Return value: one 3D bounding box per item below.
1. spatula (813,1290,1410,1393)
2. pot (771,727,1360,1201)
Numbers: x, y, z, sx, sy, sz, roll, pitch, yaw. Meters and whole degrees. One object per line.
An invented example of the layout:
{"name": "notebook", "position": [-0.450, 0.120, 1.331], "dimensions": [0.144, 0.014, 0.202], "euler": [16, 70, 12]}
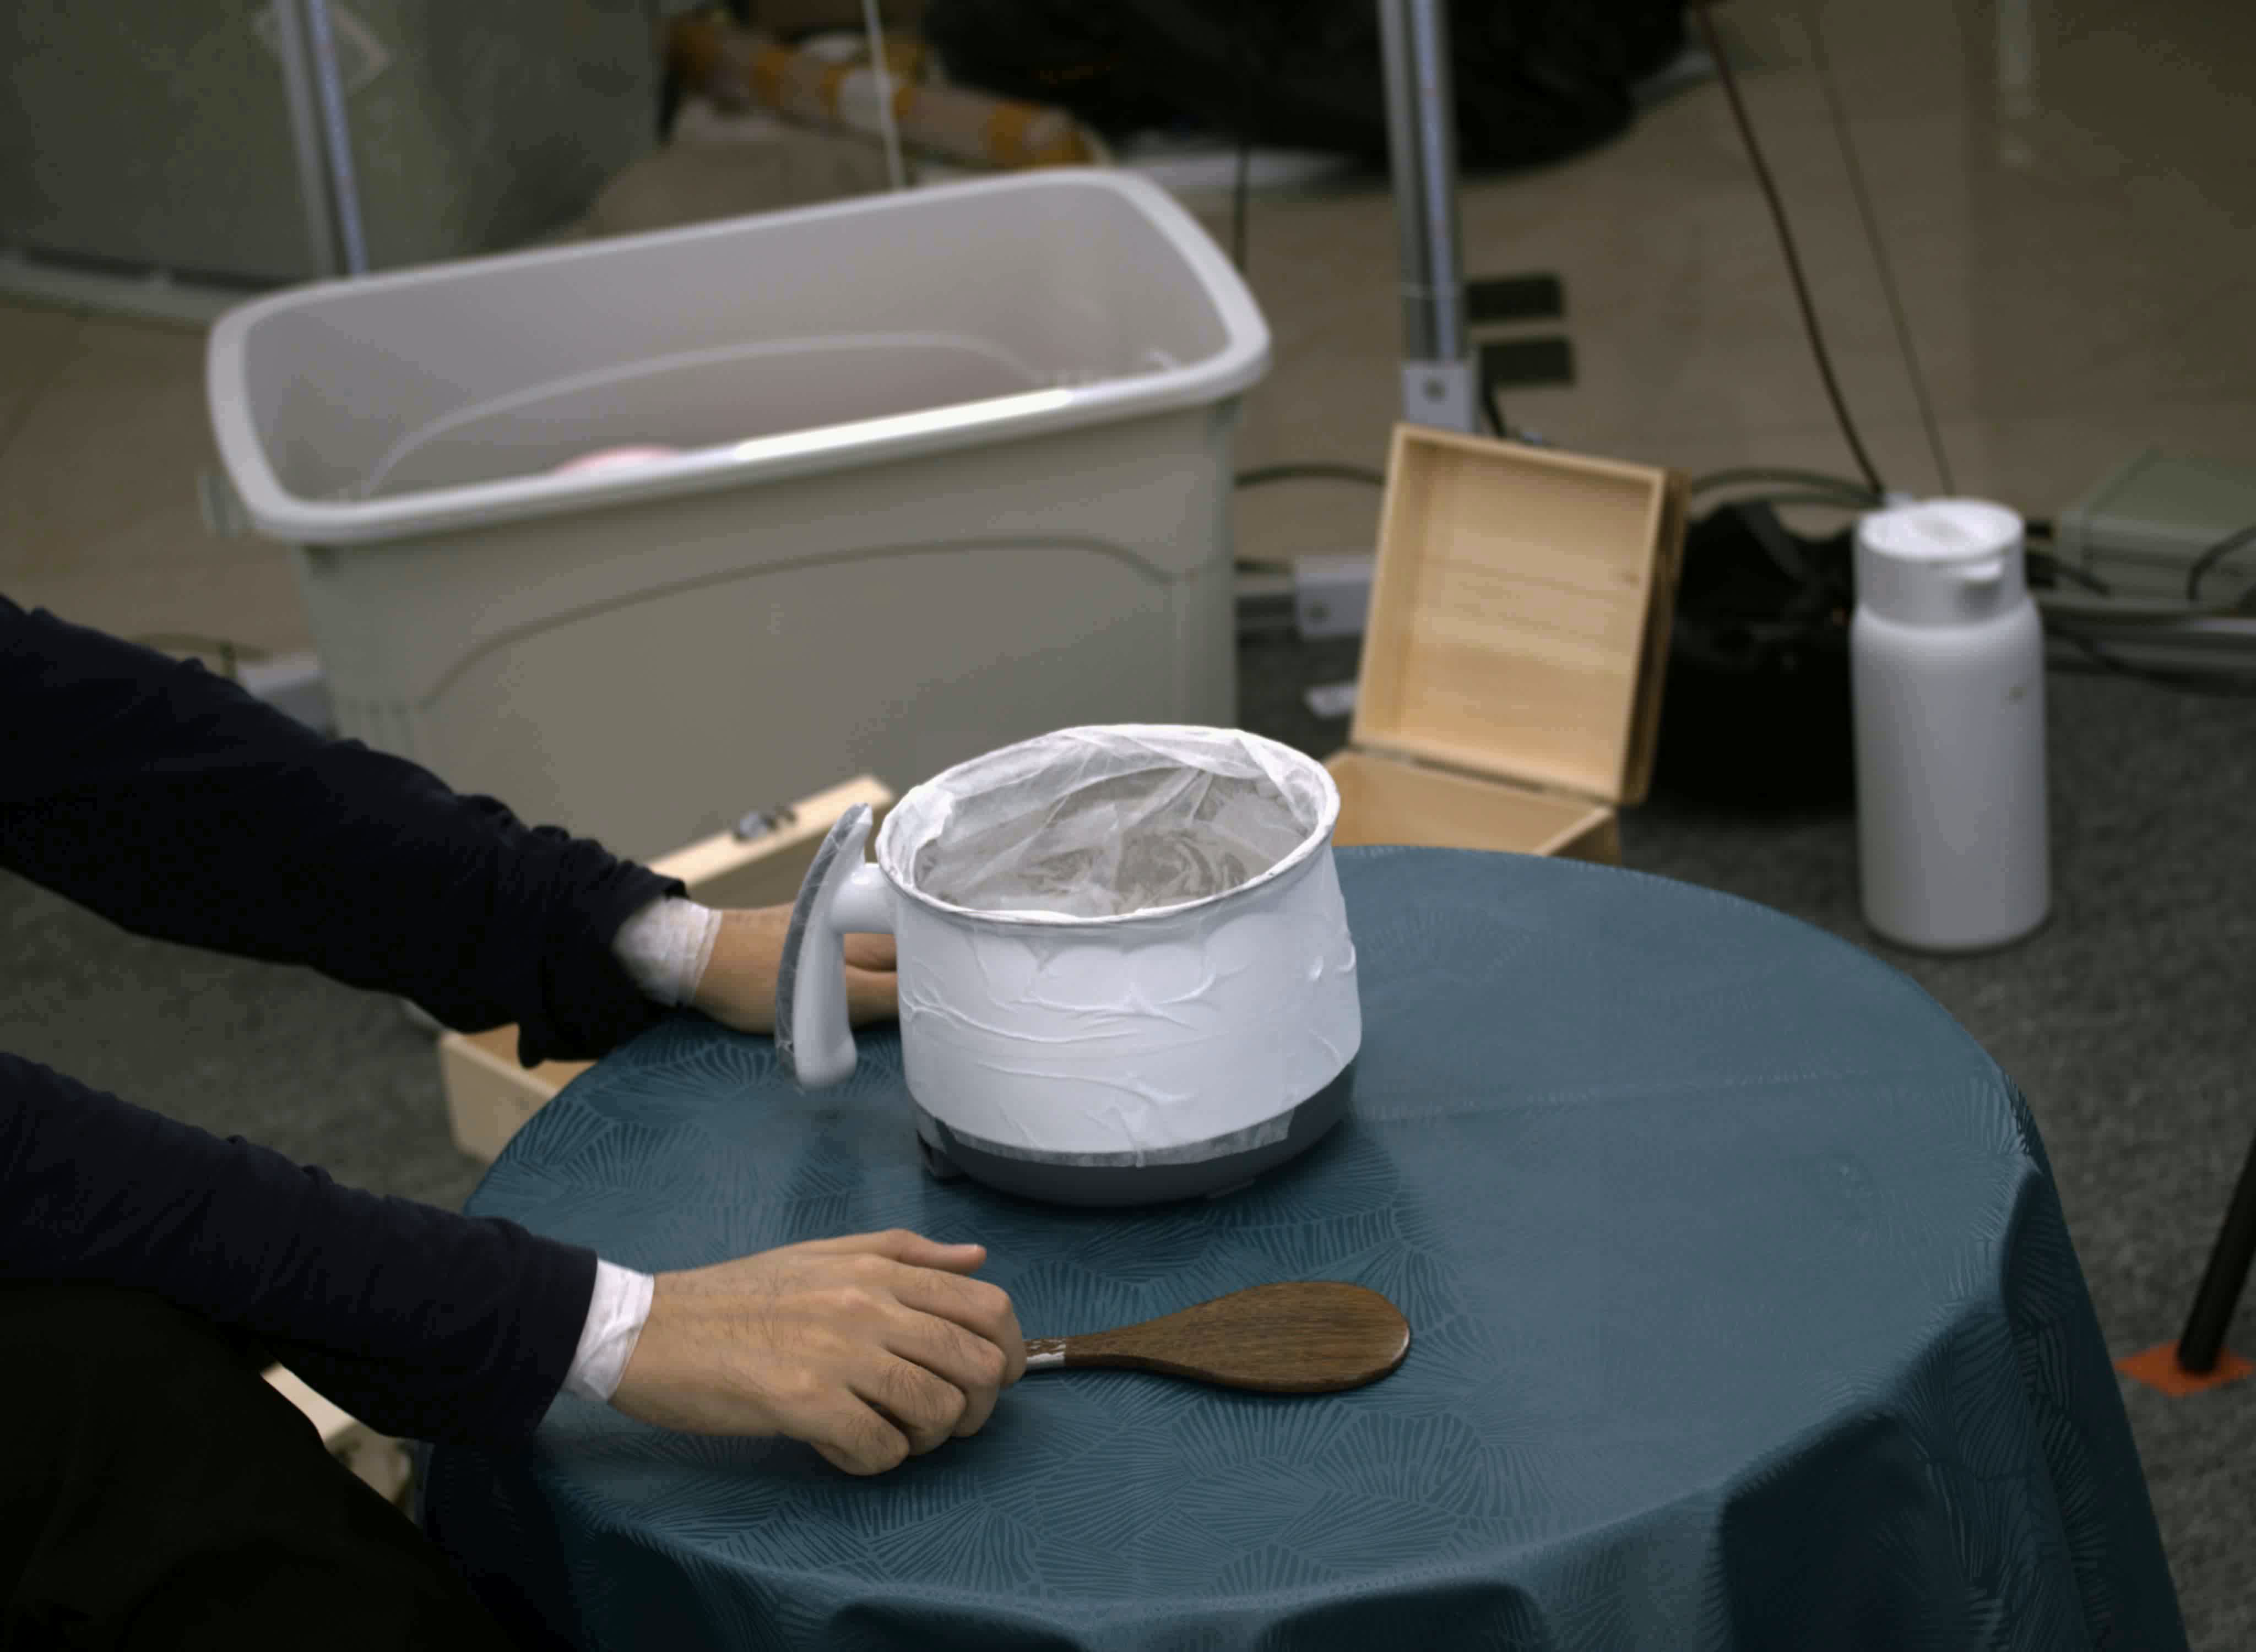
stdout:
{"name": "spatula", "position": [-0.006, 0.190, 2.037], "dimensions": [0.215, 0.009, 0.071], "euler": [-5, 23, 6]}
{"name": "pot", "position": [-0.028, 0.053, 2.174], "dimensions": [0.233, 0.138, 0.176], "euler": [2, 24, 14]}
